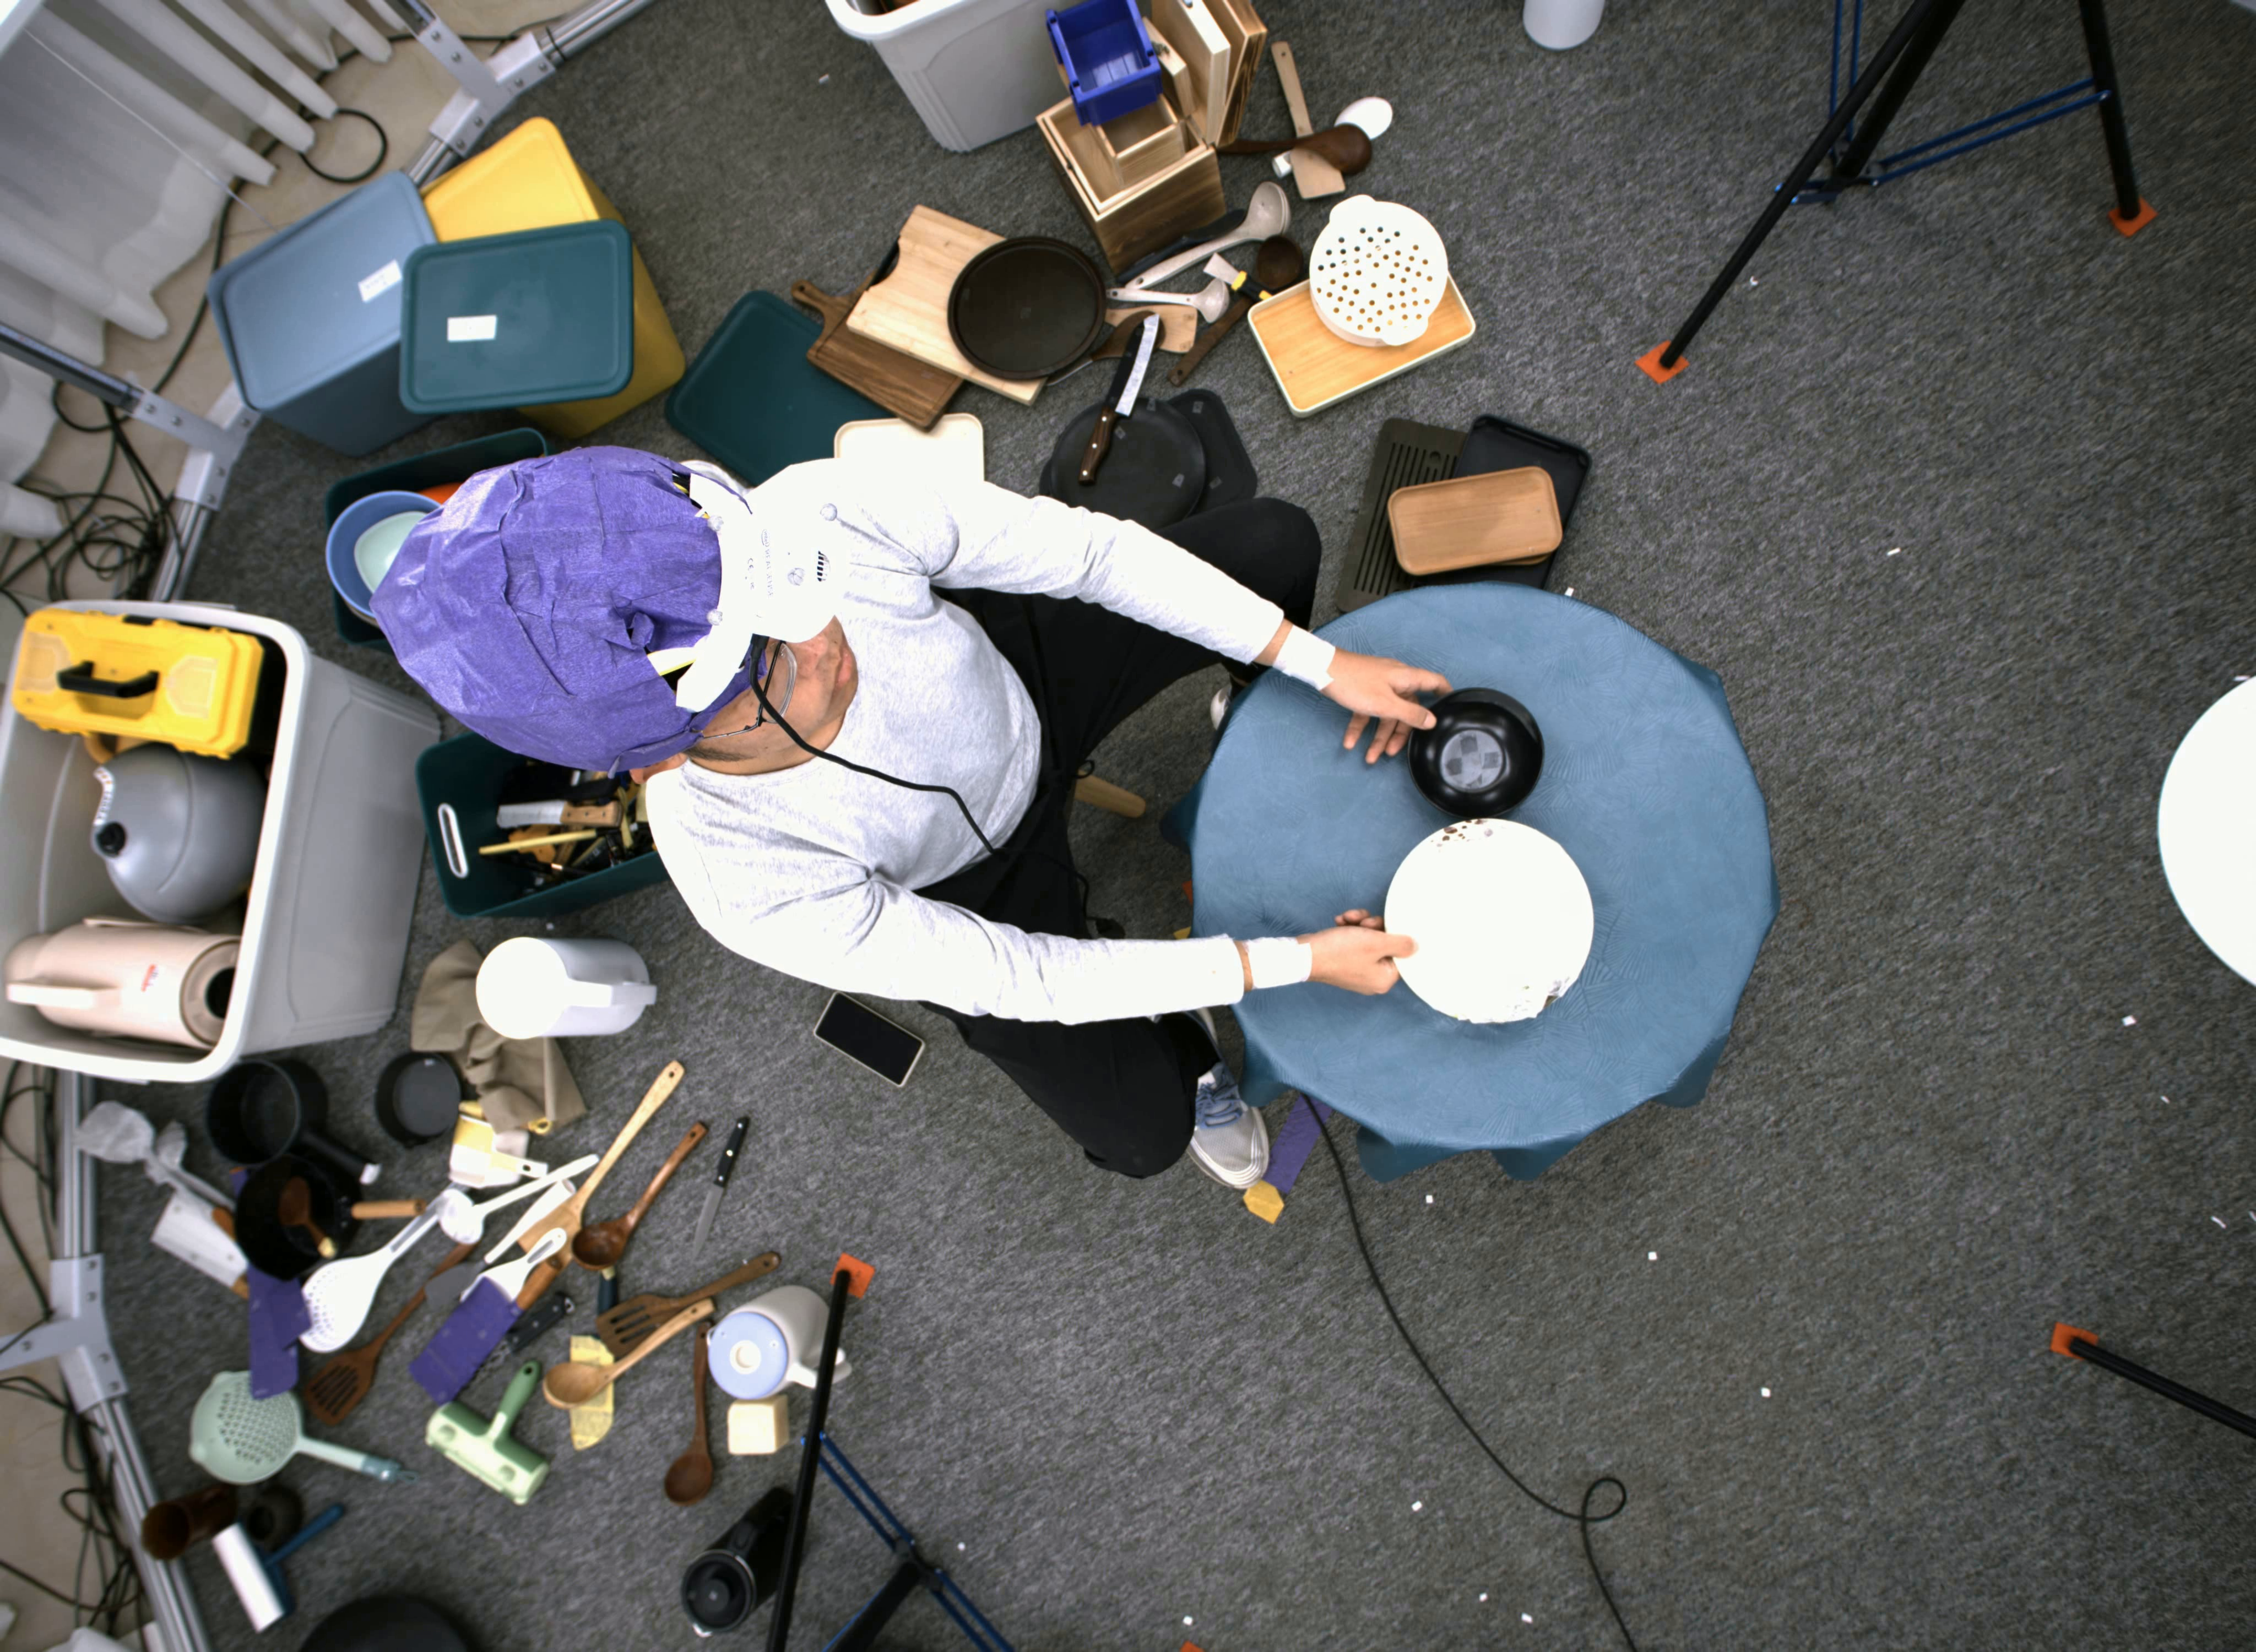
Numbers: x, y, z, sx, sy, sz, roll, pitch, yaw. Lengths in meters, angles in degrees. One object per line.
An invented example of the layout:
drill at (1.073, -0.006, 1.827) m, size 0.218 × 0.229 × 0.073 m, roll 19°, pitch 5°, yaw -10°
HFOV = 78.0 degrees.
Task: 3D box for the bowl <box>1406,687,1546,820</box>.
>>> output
bowl at (0.360, -0.073, 1.427) m, size 0.140 × 0.050 × 0.139 m, roll -2°, pitch 84°, yaw 12°

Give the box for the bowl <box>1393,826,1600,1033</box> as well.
bowl at (0.363, 0.103, 1.387) m, size 0.204 × 0.078 × 0.203 m, roll 0°, pitch 86°, yaw 2°
